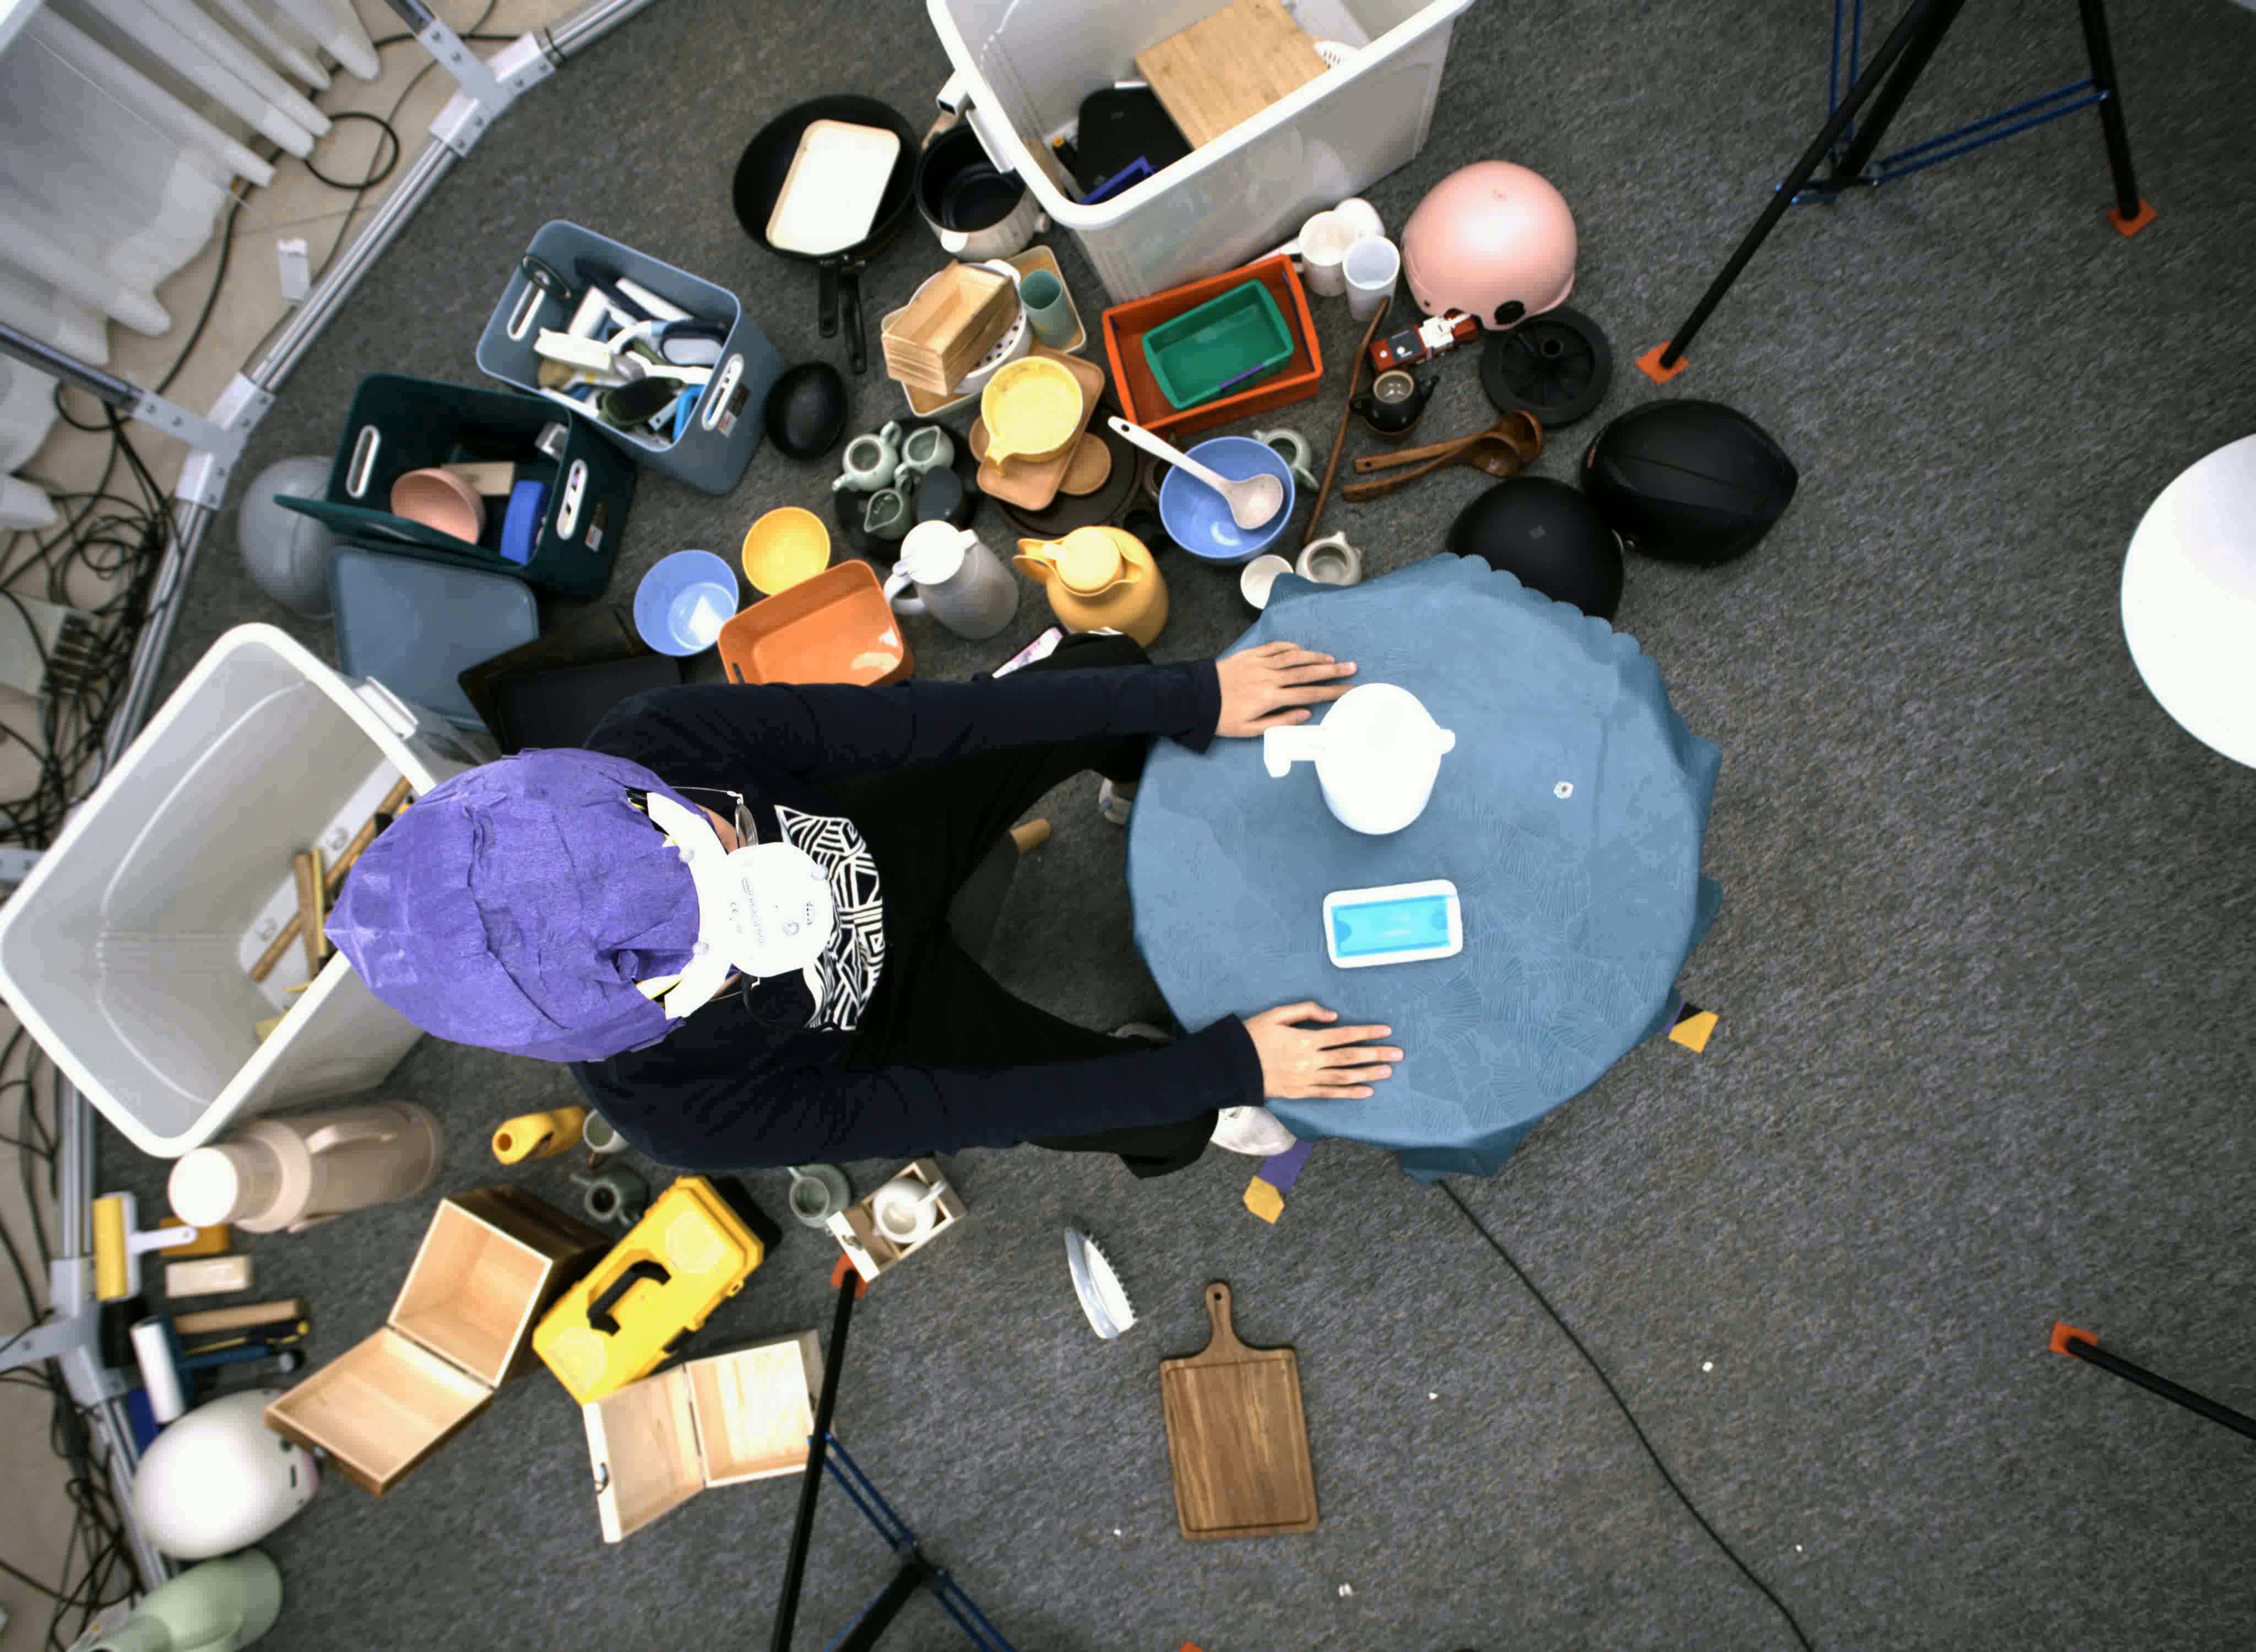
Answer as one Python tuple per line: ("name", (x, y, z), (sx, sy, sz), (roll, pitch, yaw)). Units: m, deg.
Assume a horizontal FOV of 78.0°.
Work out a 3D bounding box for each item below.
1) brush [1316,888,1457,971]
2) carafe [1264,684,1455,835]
("brush", (0.267, 0.102, 1.426), (0.144, 0.056, 0.083), (-5, 82, 7))
("carafe", (0.225, -0.062, 1.339), (0.173, 0.269, 0.123), (-2, 86, 11))
